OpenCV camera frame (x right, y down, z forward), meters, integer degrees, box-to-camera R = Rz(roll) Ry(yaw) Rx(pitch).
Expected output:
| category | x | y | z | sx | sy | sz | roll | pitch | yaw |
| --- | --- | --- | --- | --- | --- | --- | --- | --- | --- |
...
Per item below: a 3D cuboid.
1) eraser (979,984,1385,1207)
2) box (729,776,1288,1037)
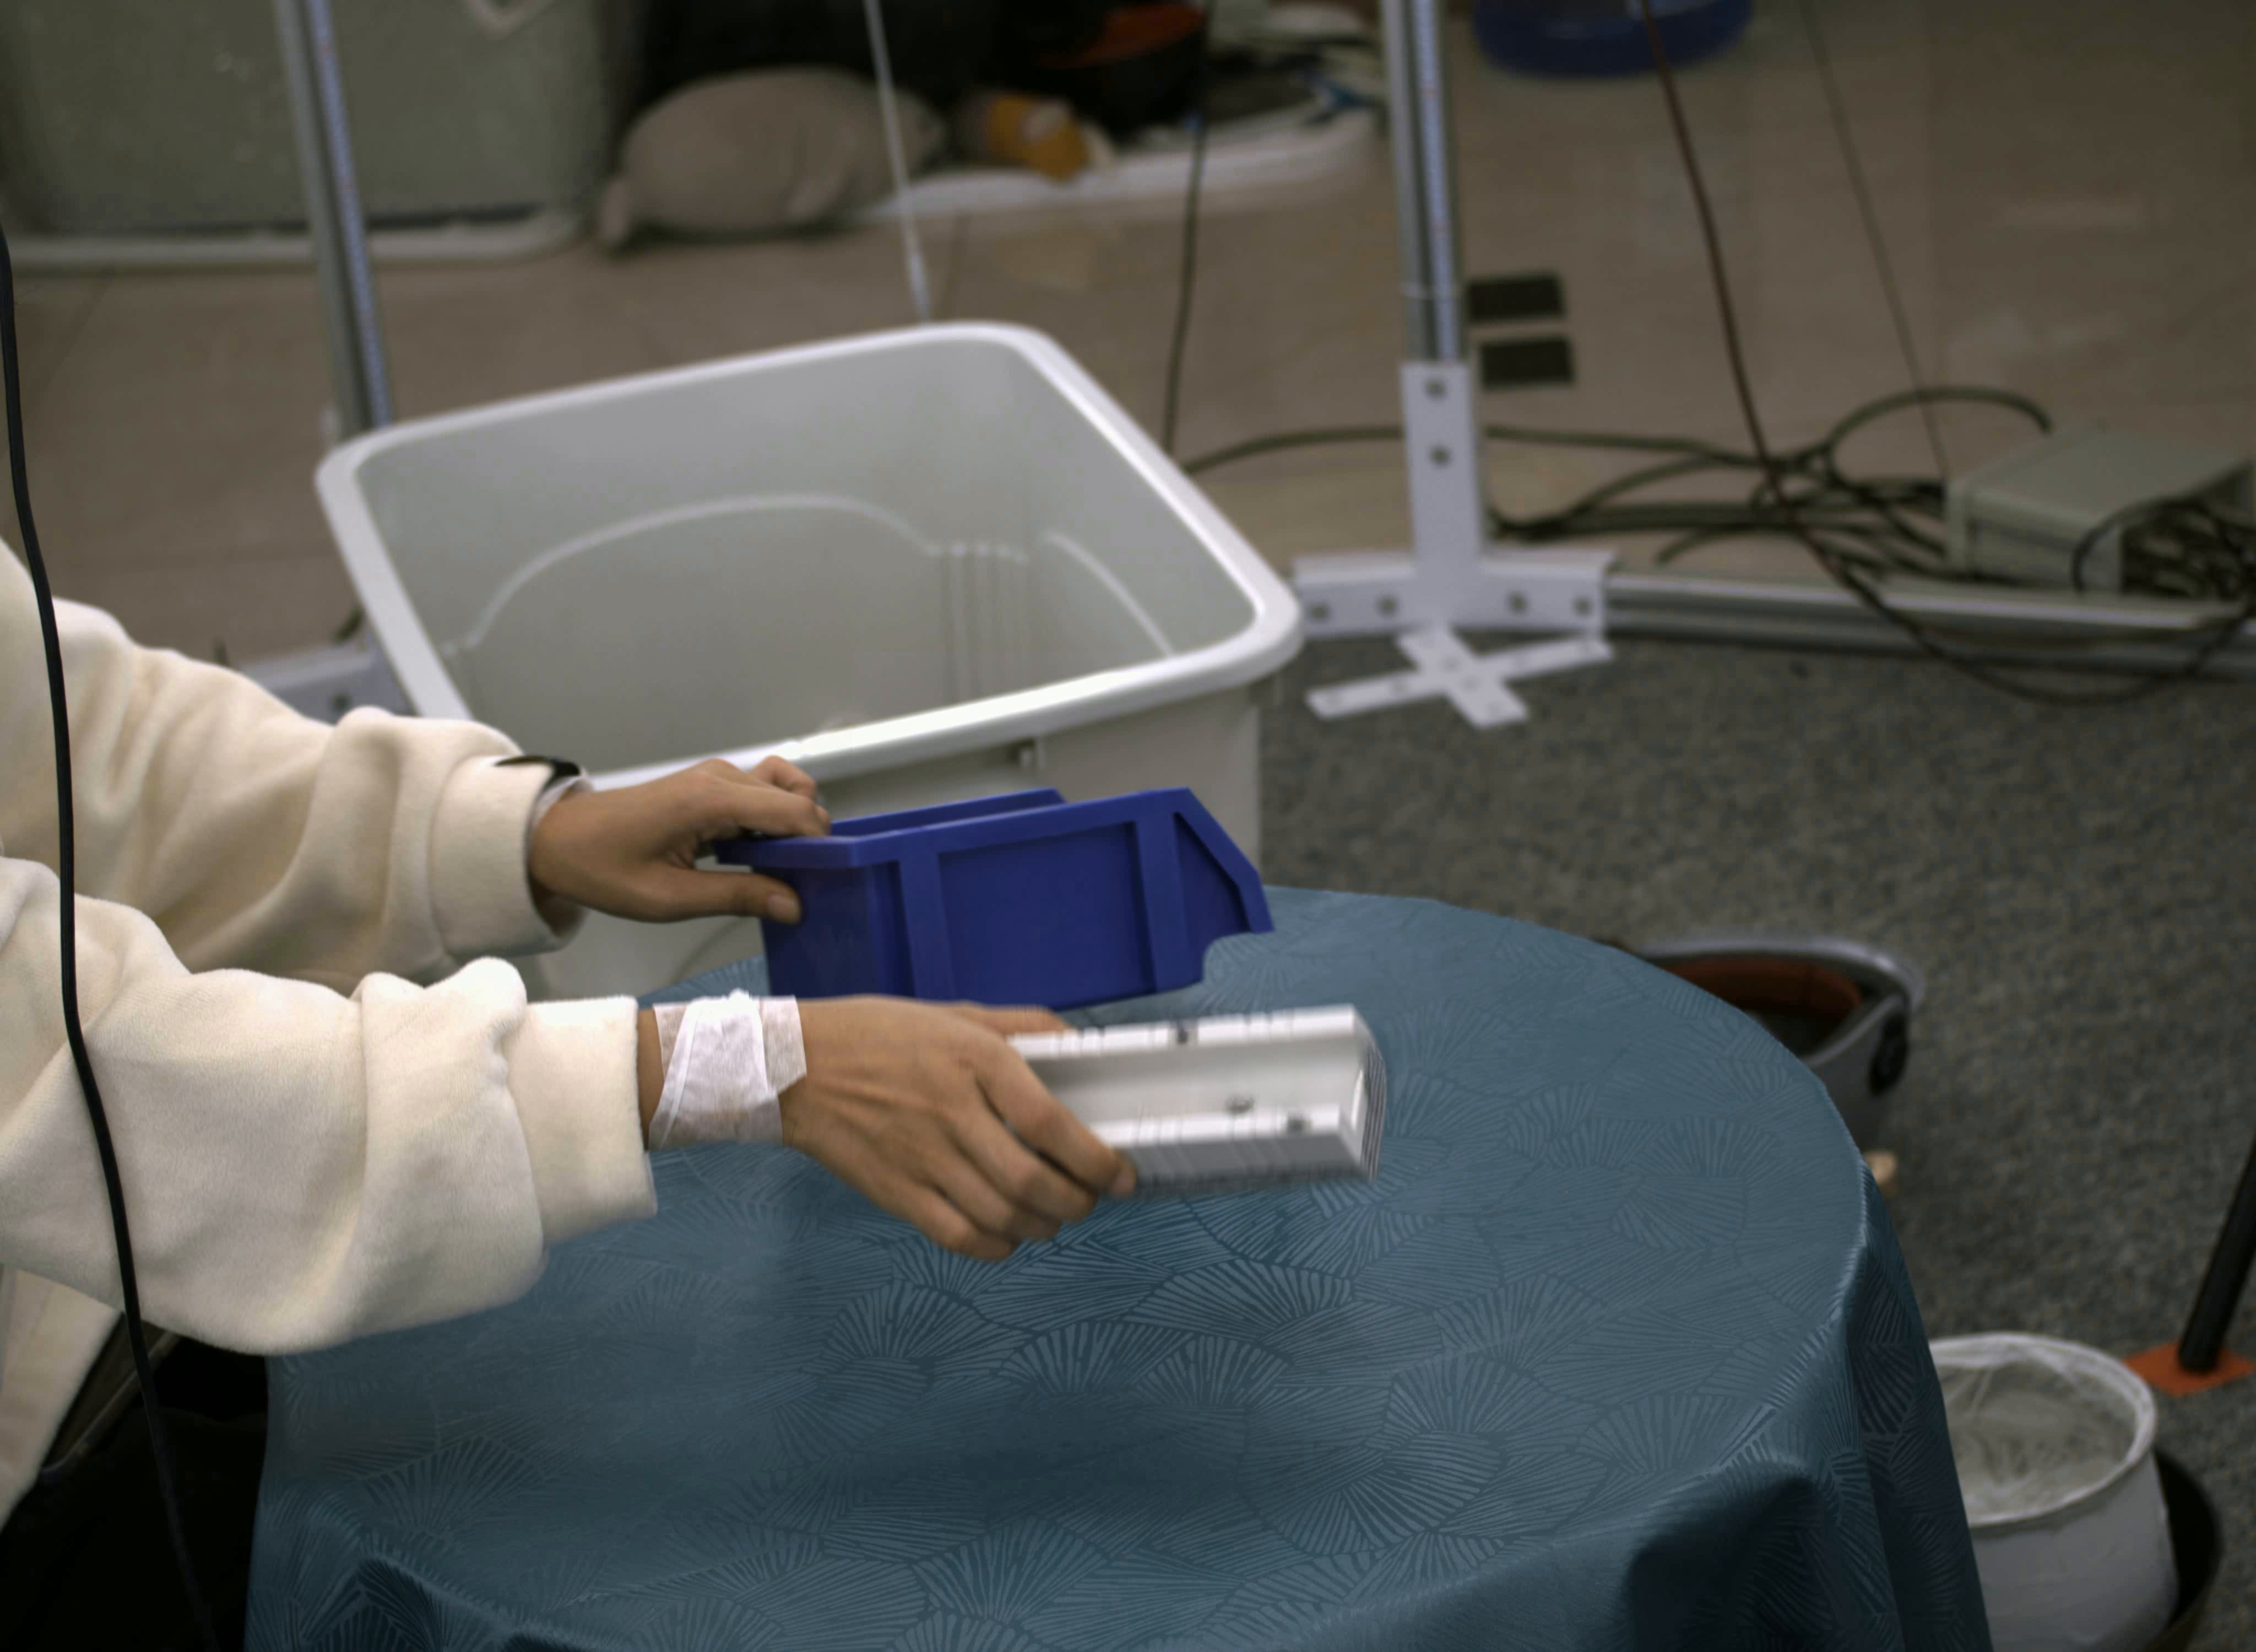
| category | x | y | z | sx | sy | sz | roll | pitch | yaw |
| --- | --- | --- | --- | --- | --- | --- | --- | --- | --- |
| eraser | 0.019 | 0.094 | 1.953 | 0.134 | 0.047 | 0.049 | -8 | 57 | 22 |
| box | -0.047 | 0.030 | 2.215 | 0.179 | 0.082 | 0.124 | -11 | 5 | -28 |
